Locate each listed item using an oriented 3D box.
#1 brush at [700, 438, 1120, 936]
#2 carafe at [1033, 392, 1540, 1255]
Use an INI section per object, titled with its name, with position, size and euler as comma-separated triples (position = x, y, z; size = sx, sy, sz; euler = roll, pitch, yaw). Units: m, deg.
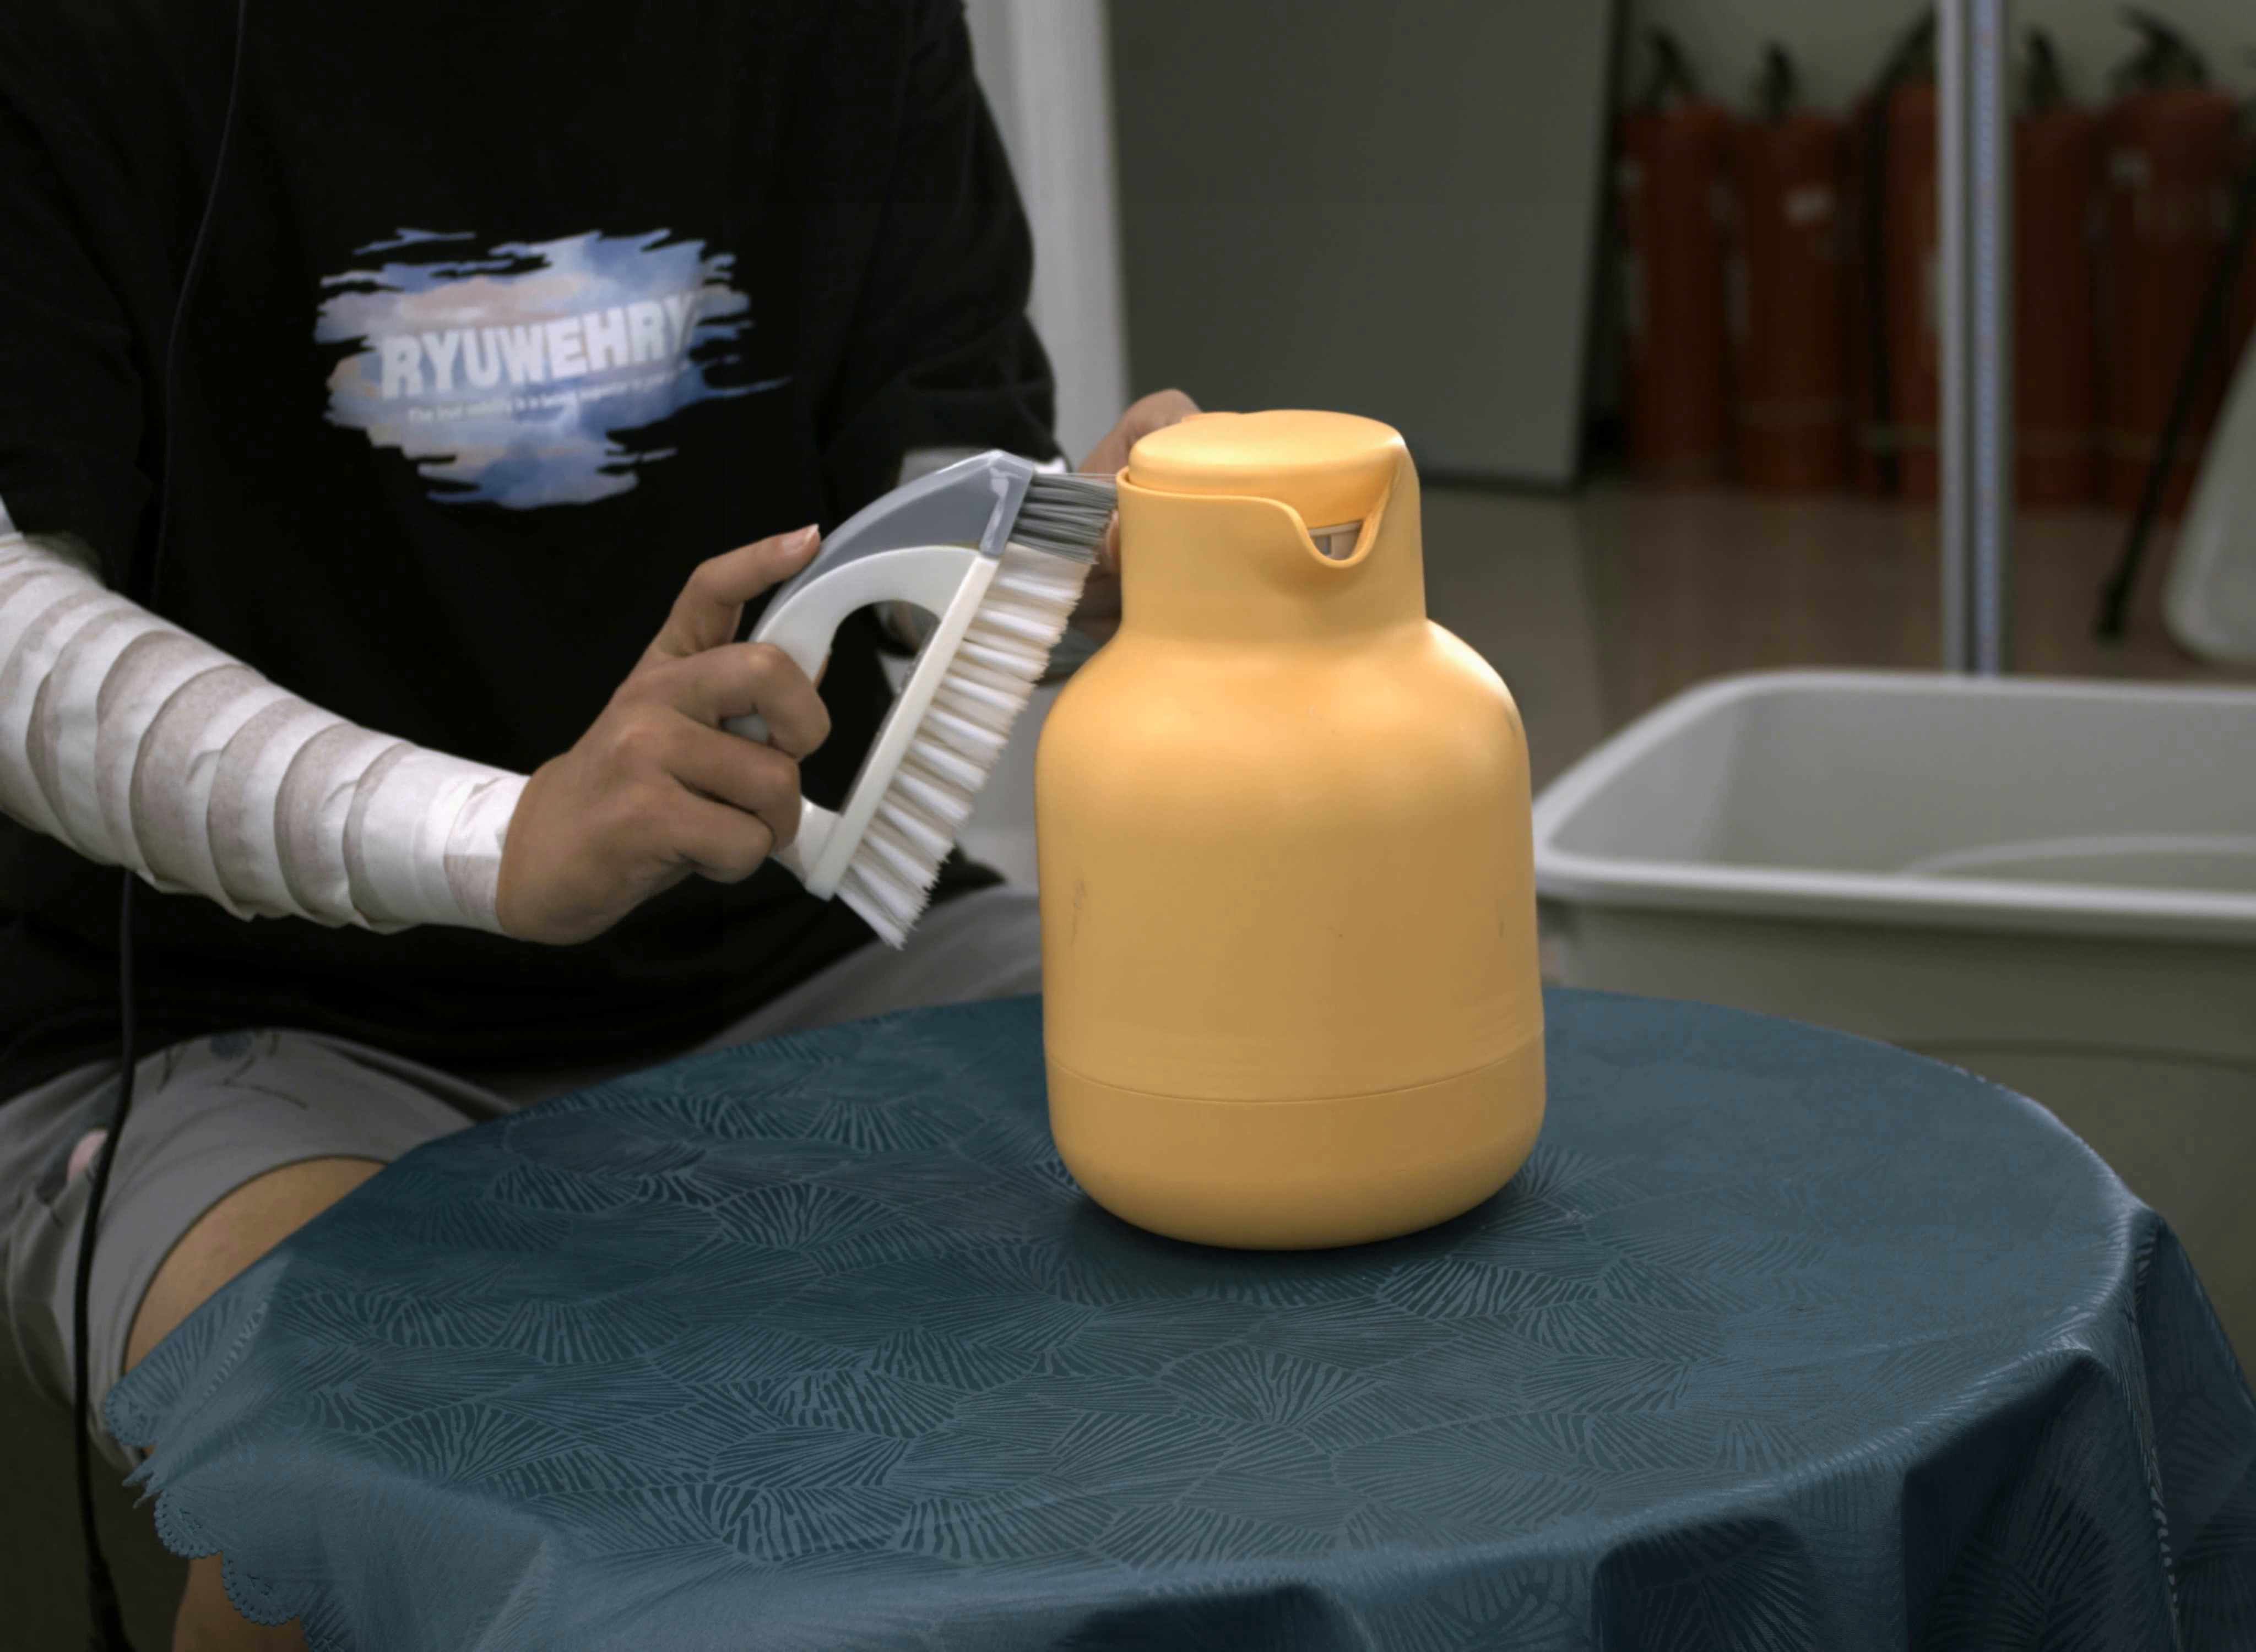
[brush]
position = -0.077, -0.059, 1.741
size = 0.093, 0.177, 0.061
euler = 26, 27, -8
[carafe]
position = 0.046, -0.009, 1.743
size = 0.160, 0.263, 0.204
euler = -5, 14, -13
